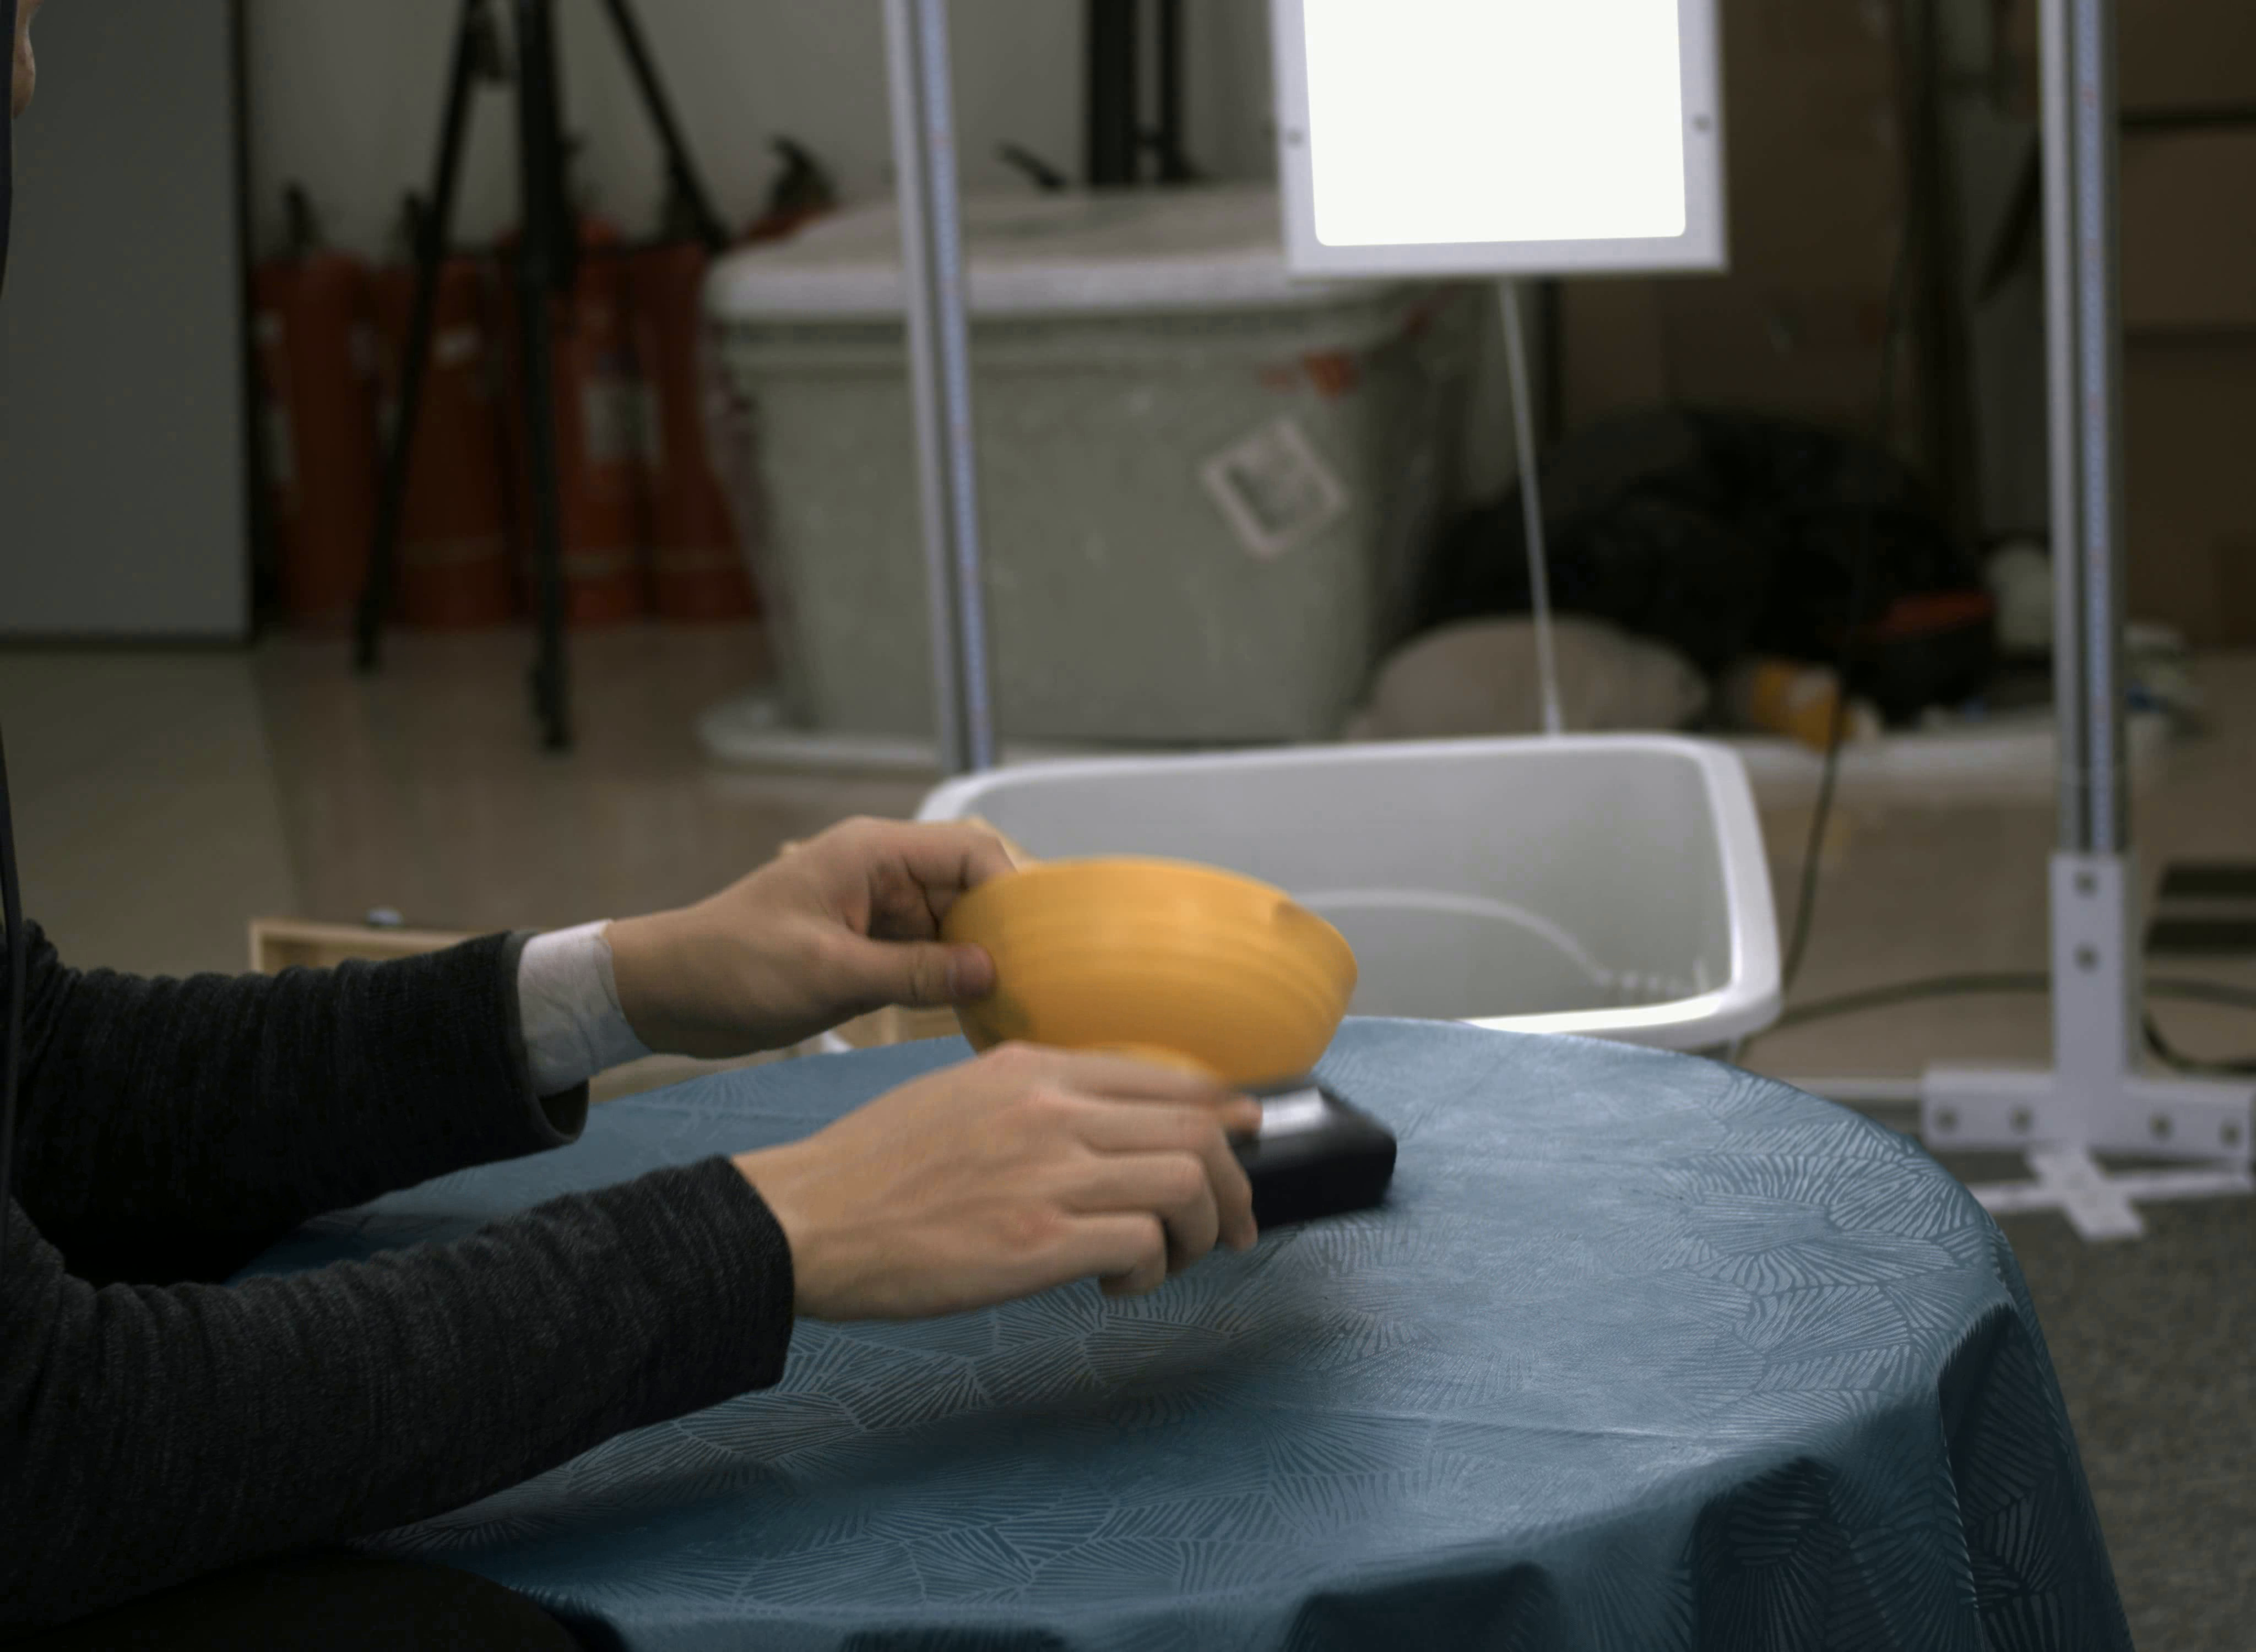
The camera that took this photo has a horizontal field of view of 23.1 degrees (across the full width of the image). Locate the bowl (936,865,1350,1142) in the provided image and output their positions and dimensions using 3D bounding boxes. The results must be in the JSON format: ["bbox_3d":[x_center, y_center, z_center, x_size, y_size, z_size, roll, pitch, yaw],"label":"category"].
[{"bbox_3d":[0.003,0.073,1.873,0.145,0.060,0.146,6,-28,2],"label":"bowl"}]

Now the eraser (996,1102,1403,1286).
[{"bbox_3d":[0.023,0.113,1.718,0.122,0.030,0.054,-7,23,-35],"label":"eraser"}]
